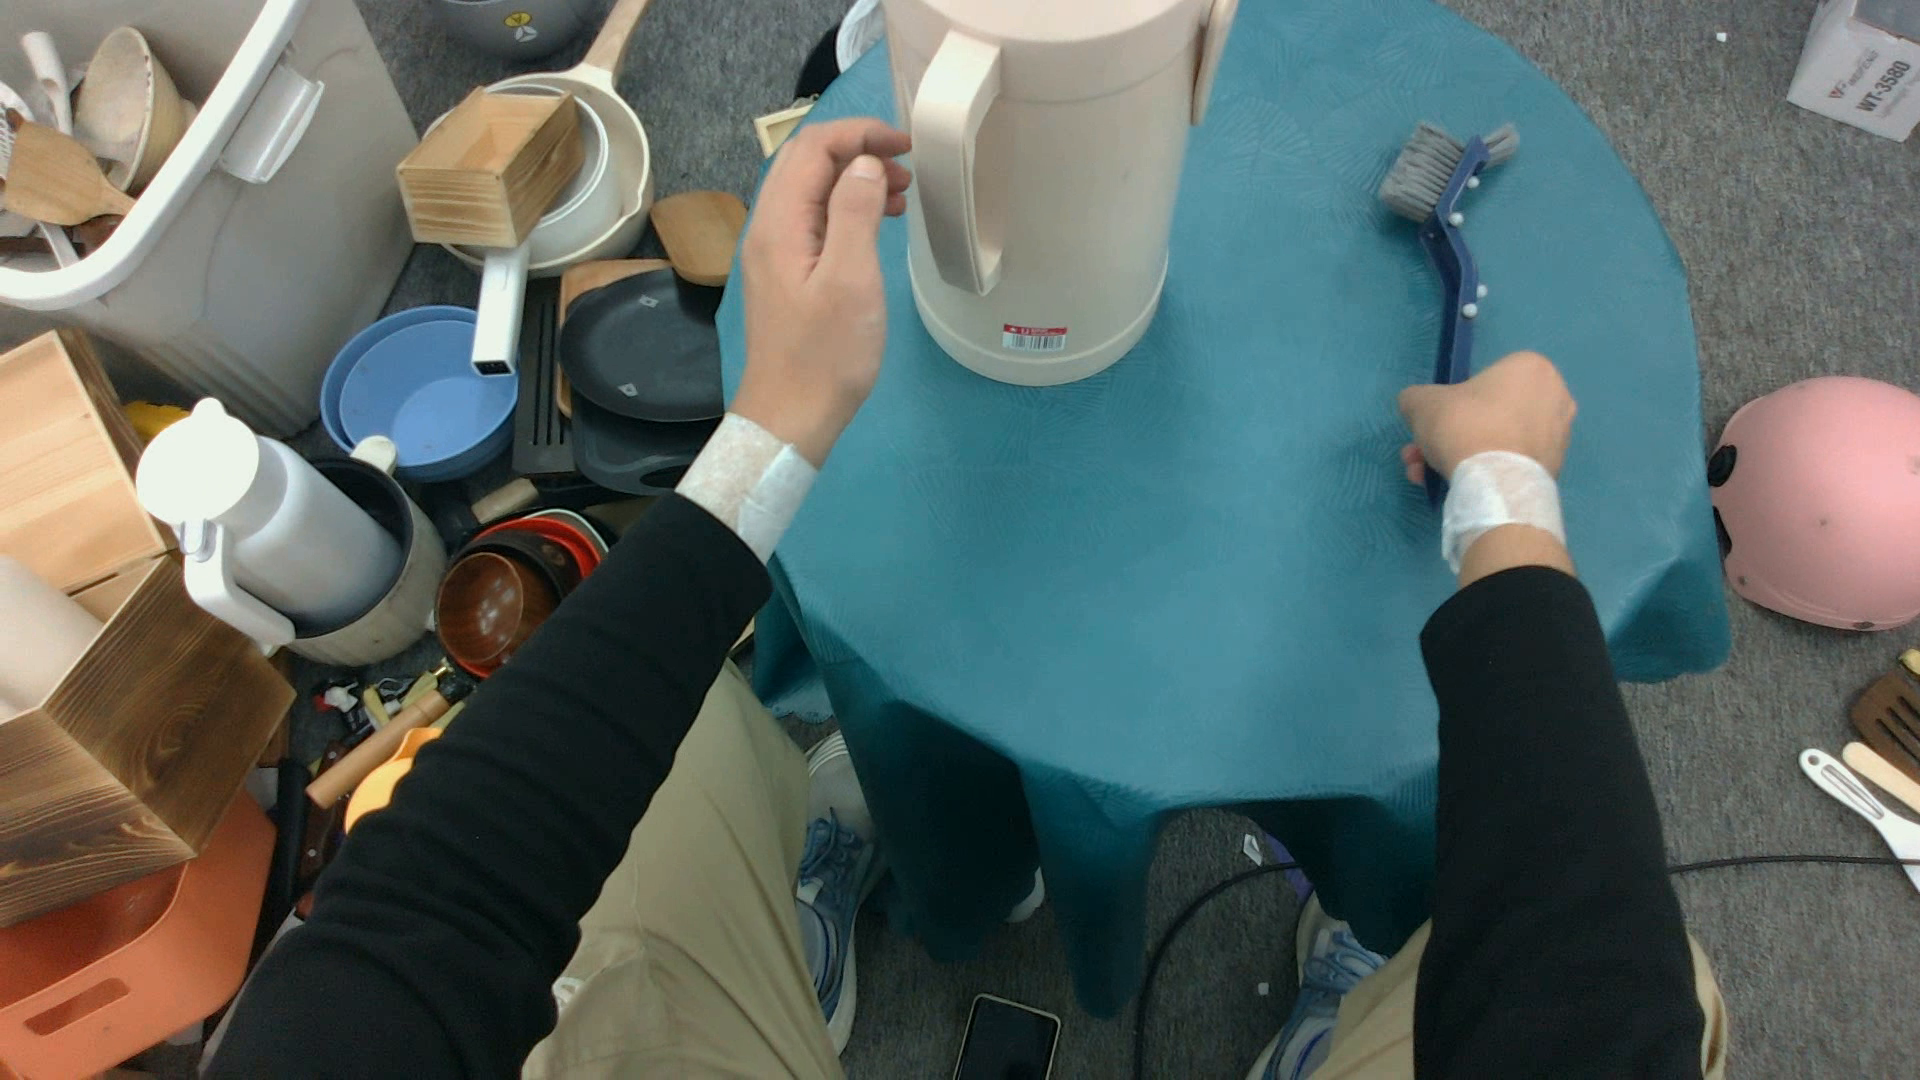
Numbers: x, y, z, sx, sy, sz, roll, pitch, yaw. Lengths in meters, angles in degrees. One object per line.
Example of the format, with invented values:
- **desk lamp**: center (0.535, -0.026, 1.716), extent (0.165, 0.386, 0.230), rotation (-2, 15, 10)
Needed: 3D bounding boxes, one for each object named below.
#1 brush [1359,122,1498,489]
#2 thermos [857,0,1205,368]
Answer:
- **brush**: center (0.289, -0.150, 0.826), extent (0.096, 0.033, 0.274), rotation (10, 62, -9)
- **thermos**: center (0.022, -0.236, 0.679), extent (0.175, 0.405, 0.208), rotation (23, 71, 8)
